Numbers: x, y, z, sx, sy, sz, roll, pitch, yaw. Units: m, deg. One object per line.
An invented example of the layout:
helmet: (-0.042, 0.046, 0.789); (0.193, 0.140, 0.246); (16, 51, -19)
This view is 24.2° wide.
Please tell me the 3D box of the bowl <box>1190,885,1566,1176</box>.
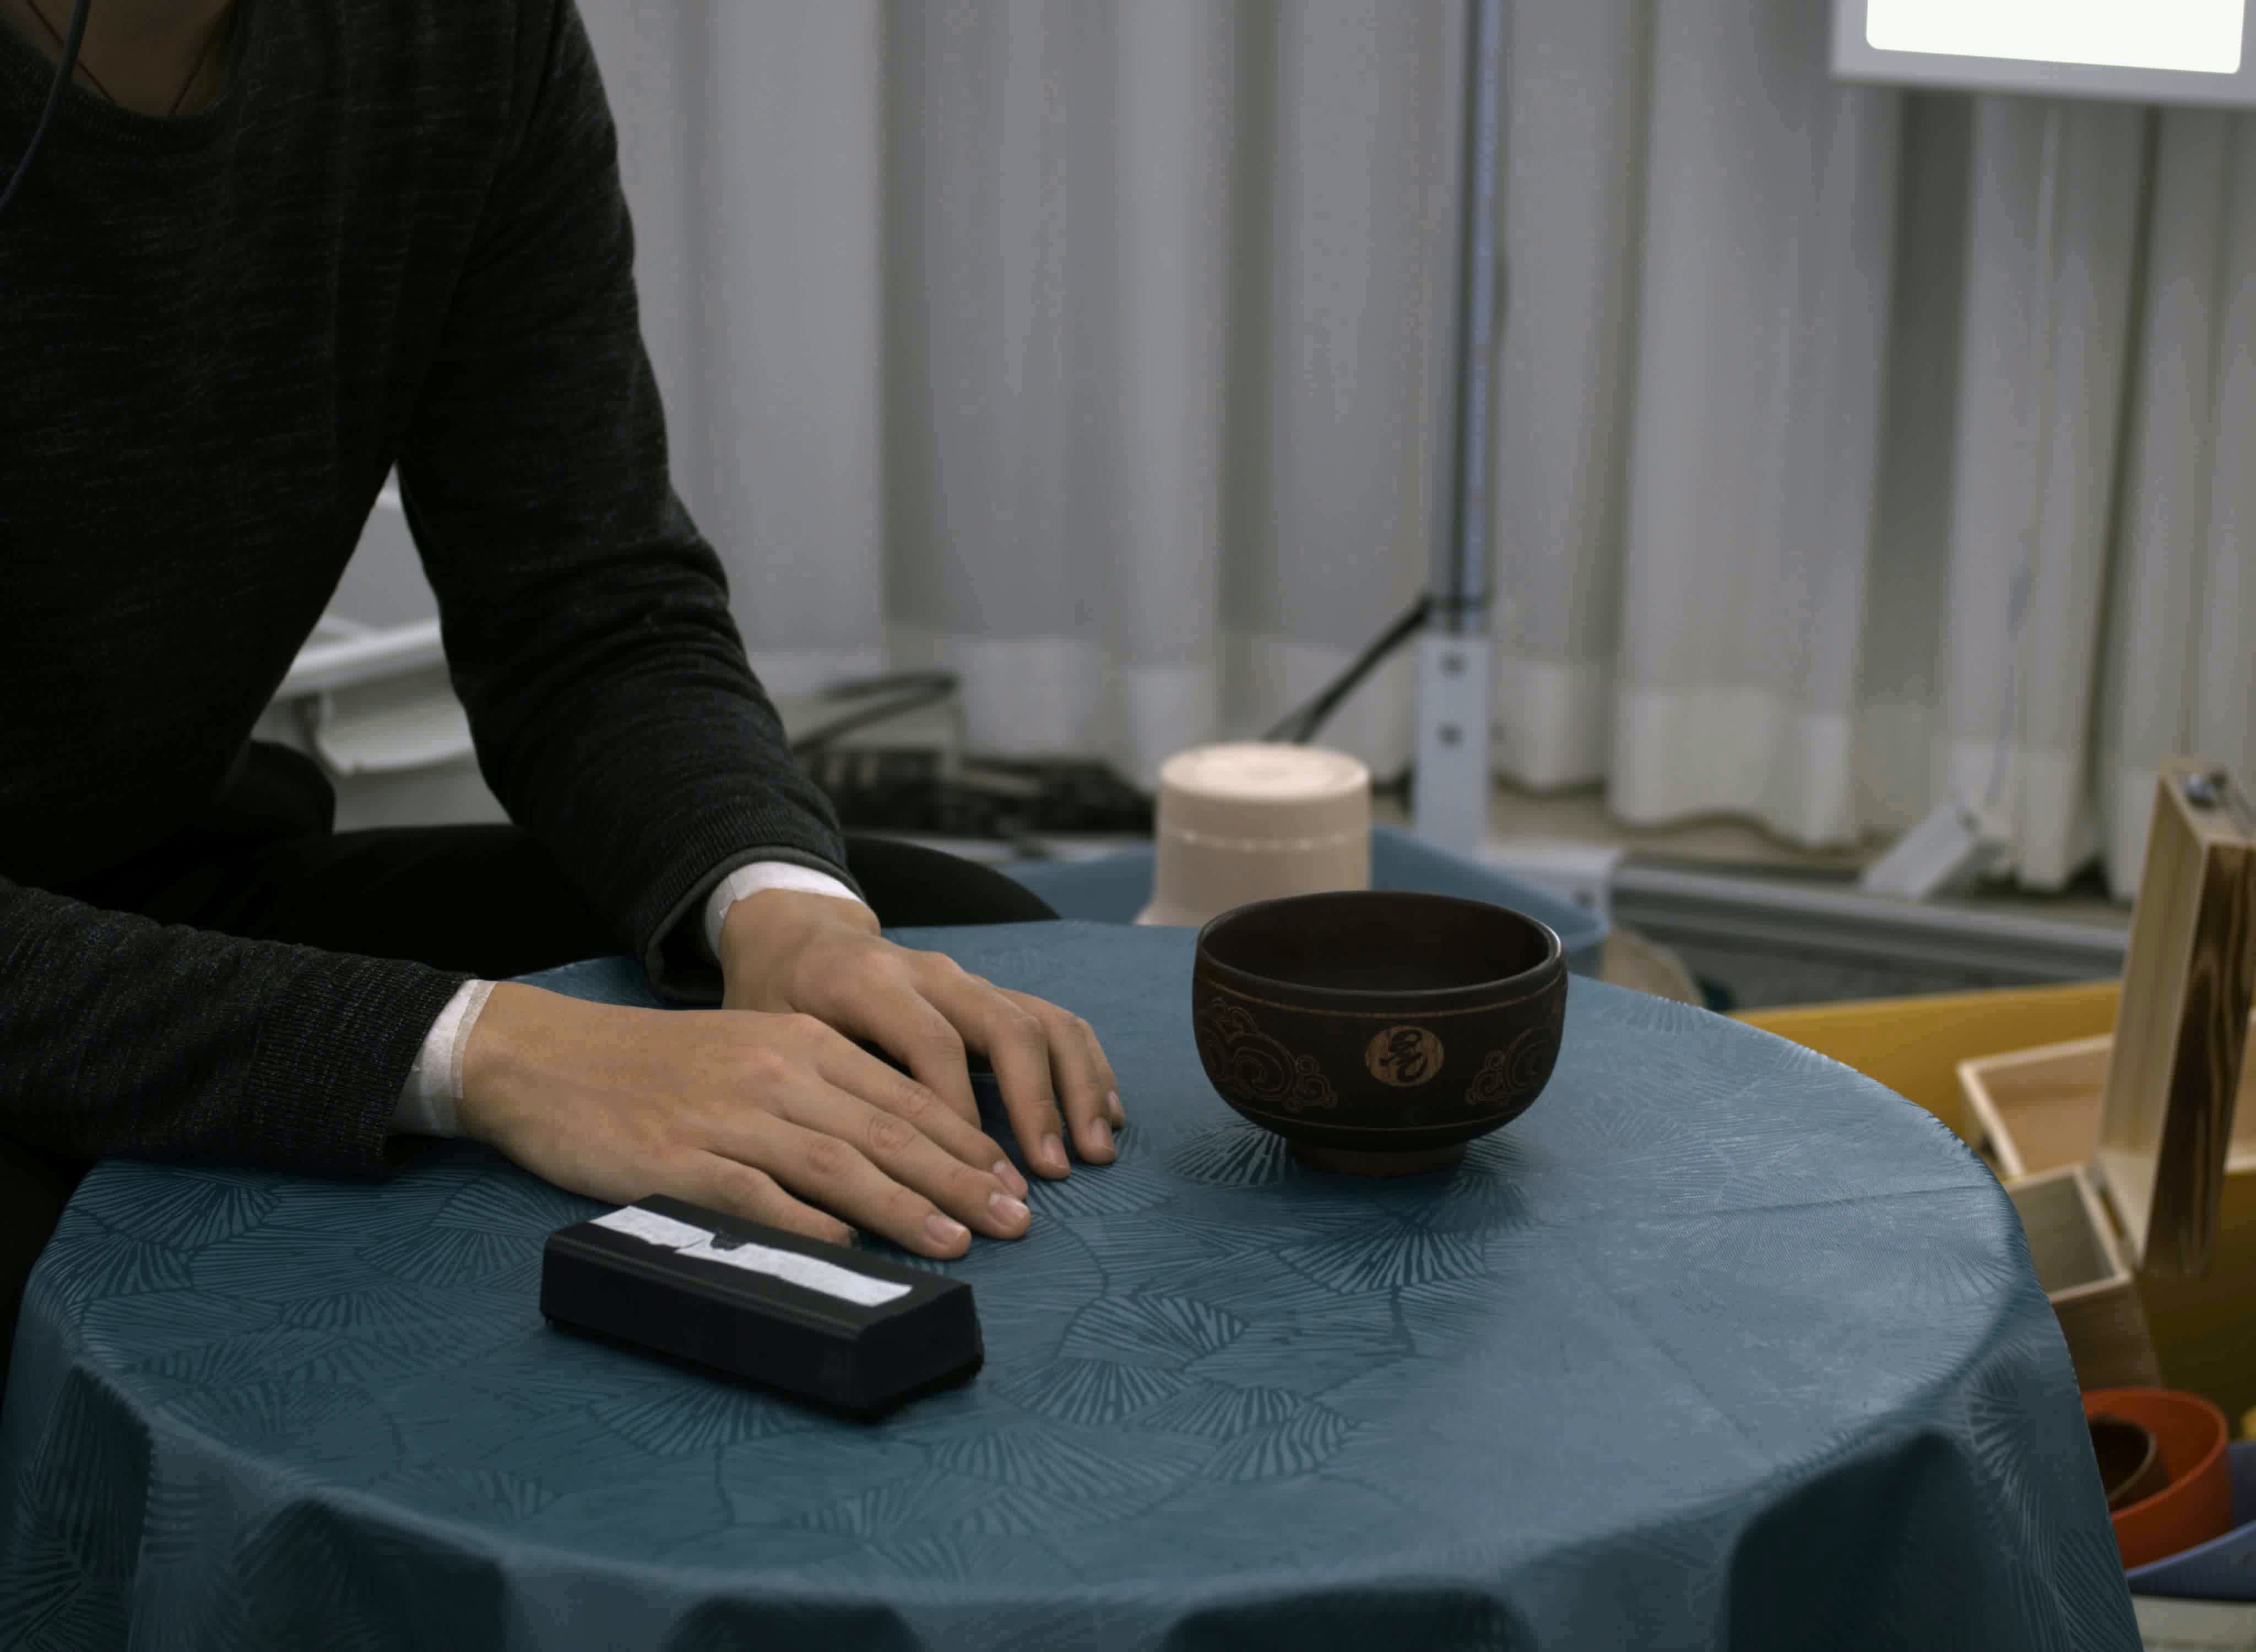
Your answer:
bowl: (0.078, 0.068, 1.652); (0.117, 0.070, 0.117); (0, 18, 1)

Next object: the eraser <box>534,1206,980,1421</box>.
eraser: (-0.104, 0.136, 1.479); (0.124, 0.030, 0.054); (11, 16, 36)
